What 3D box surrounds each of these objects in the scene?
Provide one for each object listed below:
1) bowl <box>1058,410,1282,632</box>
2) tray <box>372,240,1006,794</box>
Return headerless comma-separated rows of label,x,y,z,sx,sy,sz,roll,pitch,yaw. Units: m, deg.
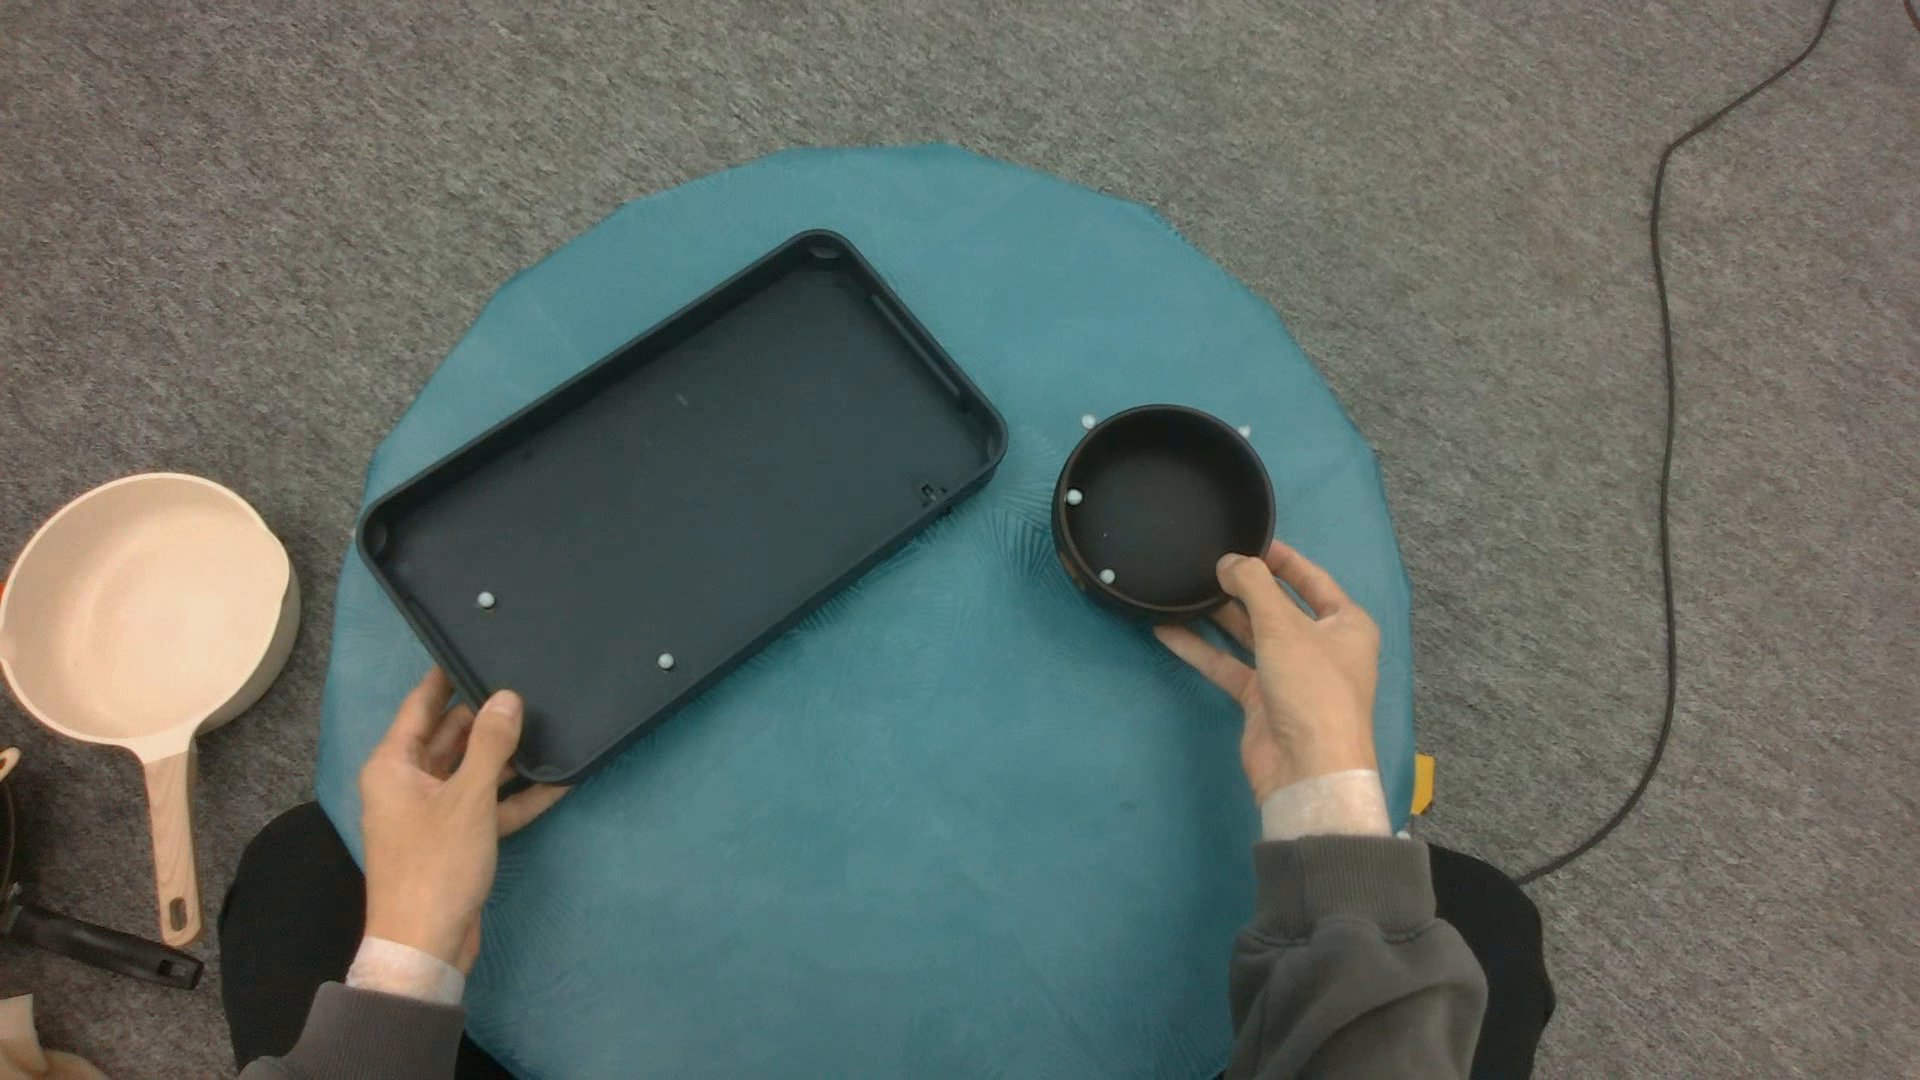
bowl,0.111,-0.006,0.756,0.118,0.069,0.118,1,75,-4
tray,-0.144,-0.020,0.772,0.319,0.037,0.184,-38,78,-16
